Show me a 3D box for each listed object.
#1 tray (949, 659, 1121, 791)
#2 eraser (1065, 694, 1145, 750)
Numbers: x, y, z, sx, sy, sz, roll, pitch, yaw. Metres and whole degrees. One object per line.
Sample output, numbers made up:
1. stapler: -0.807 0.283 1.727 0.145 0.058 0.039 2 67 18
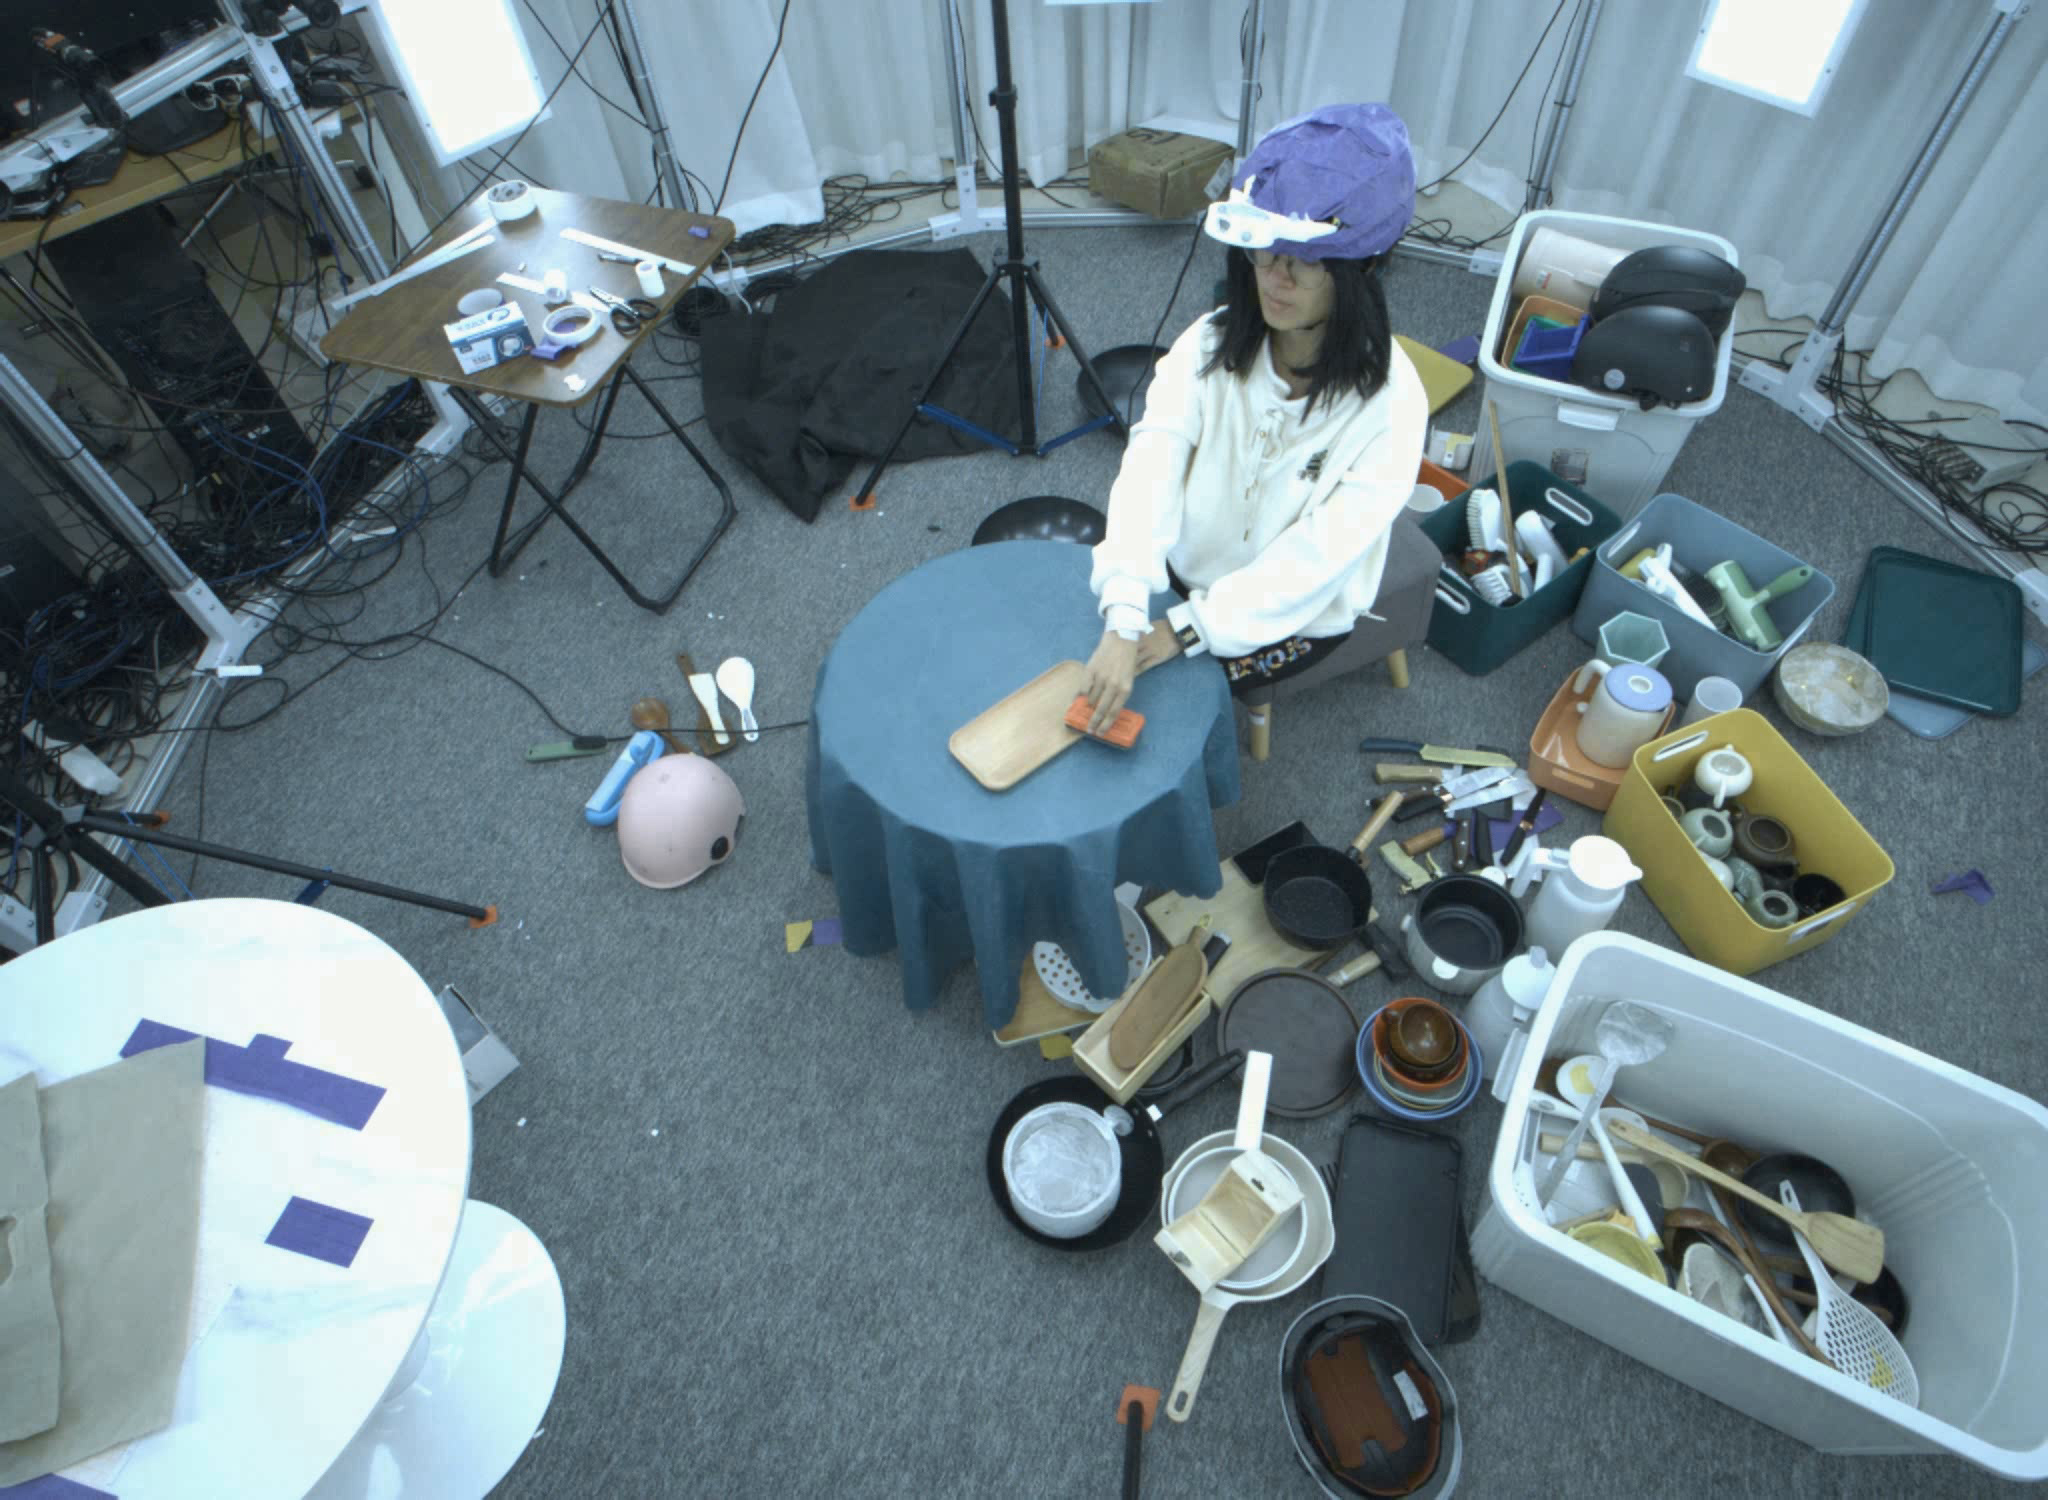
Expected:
1. tray: 0.018 -0.038 1.803 0.252 0.023 0.128 -33 63 -20
2. eraser: 0.116 -0.041 1.776 0.106 0.023 0.059 23 51 20
